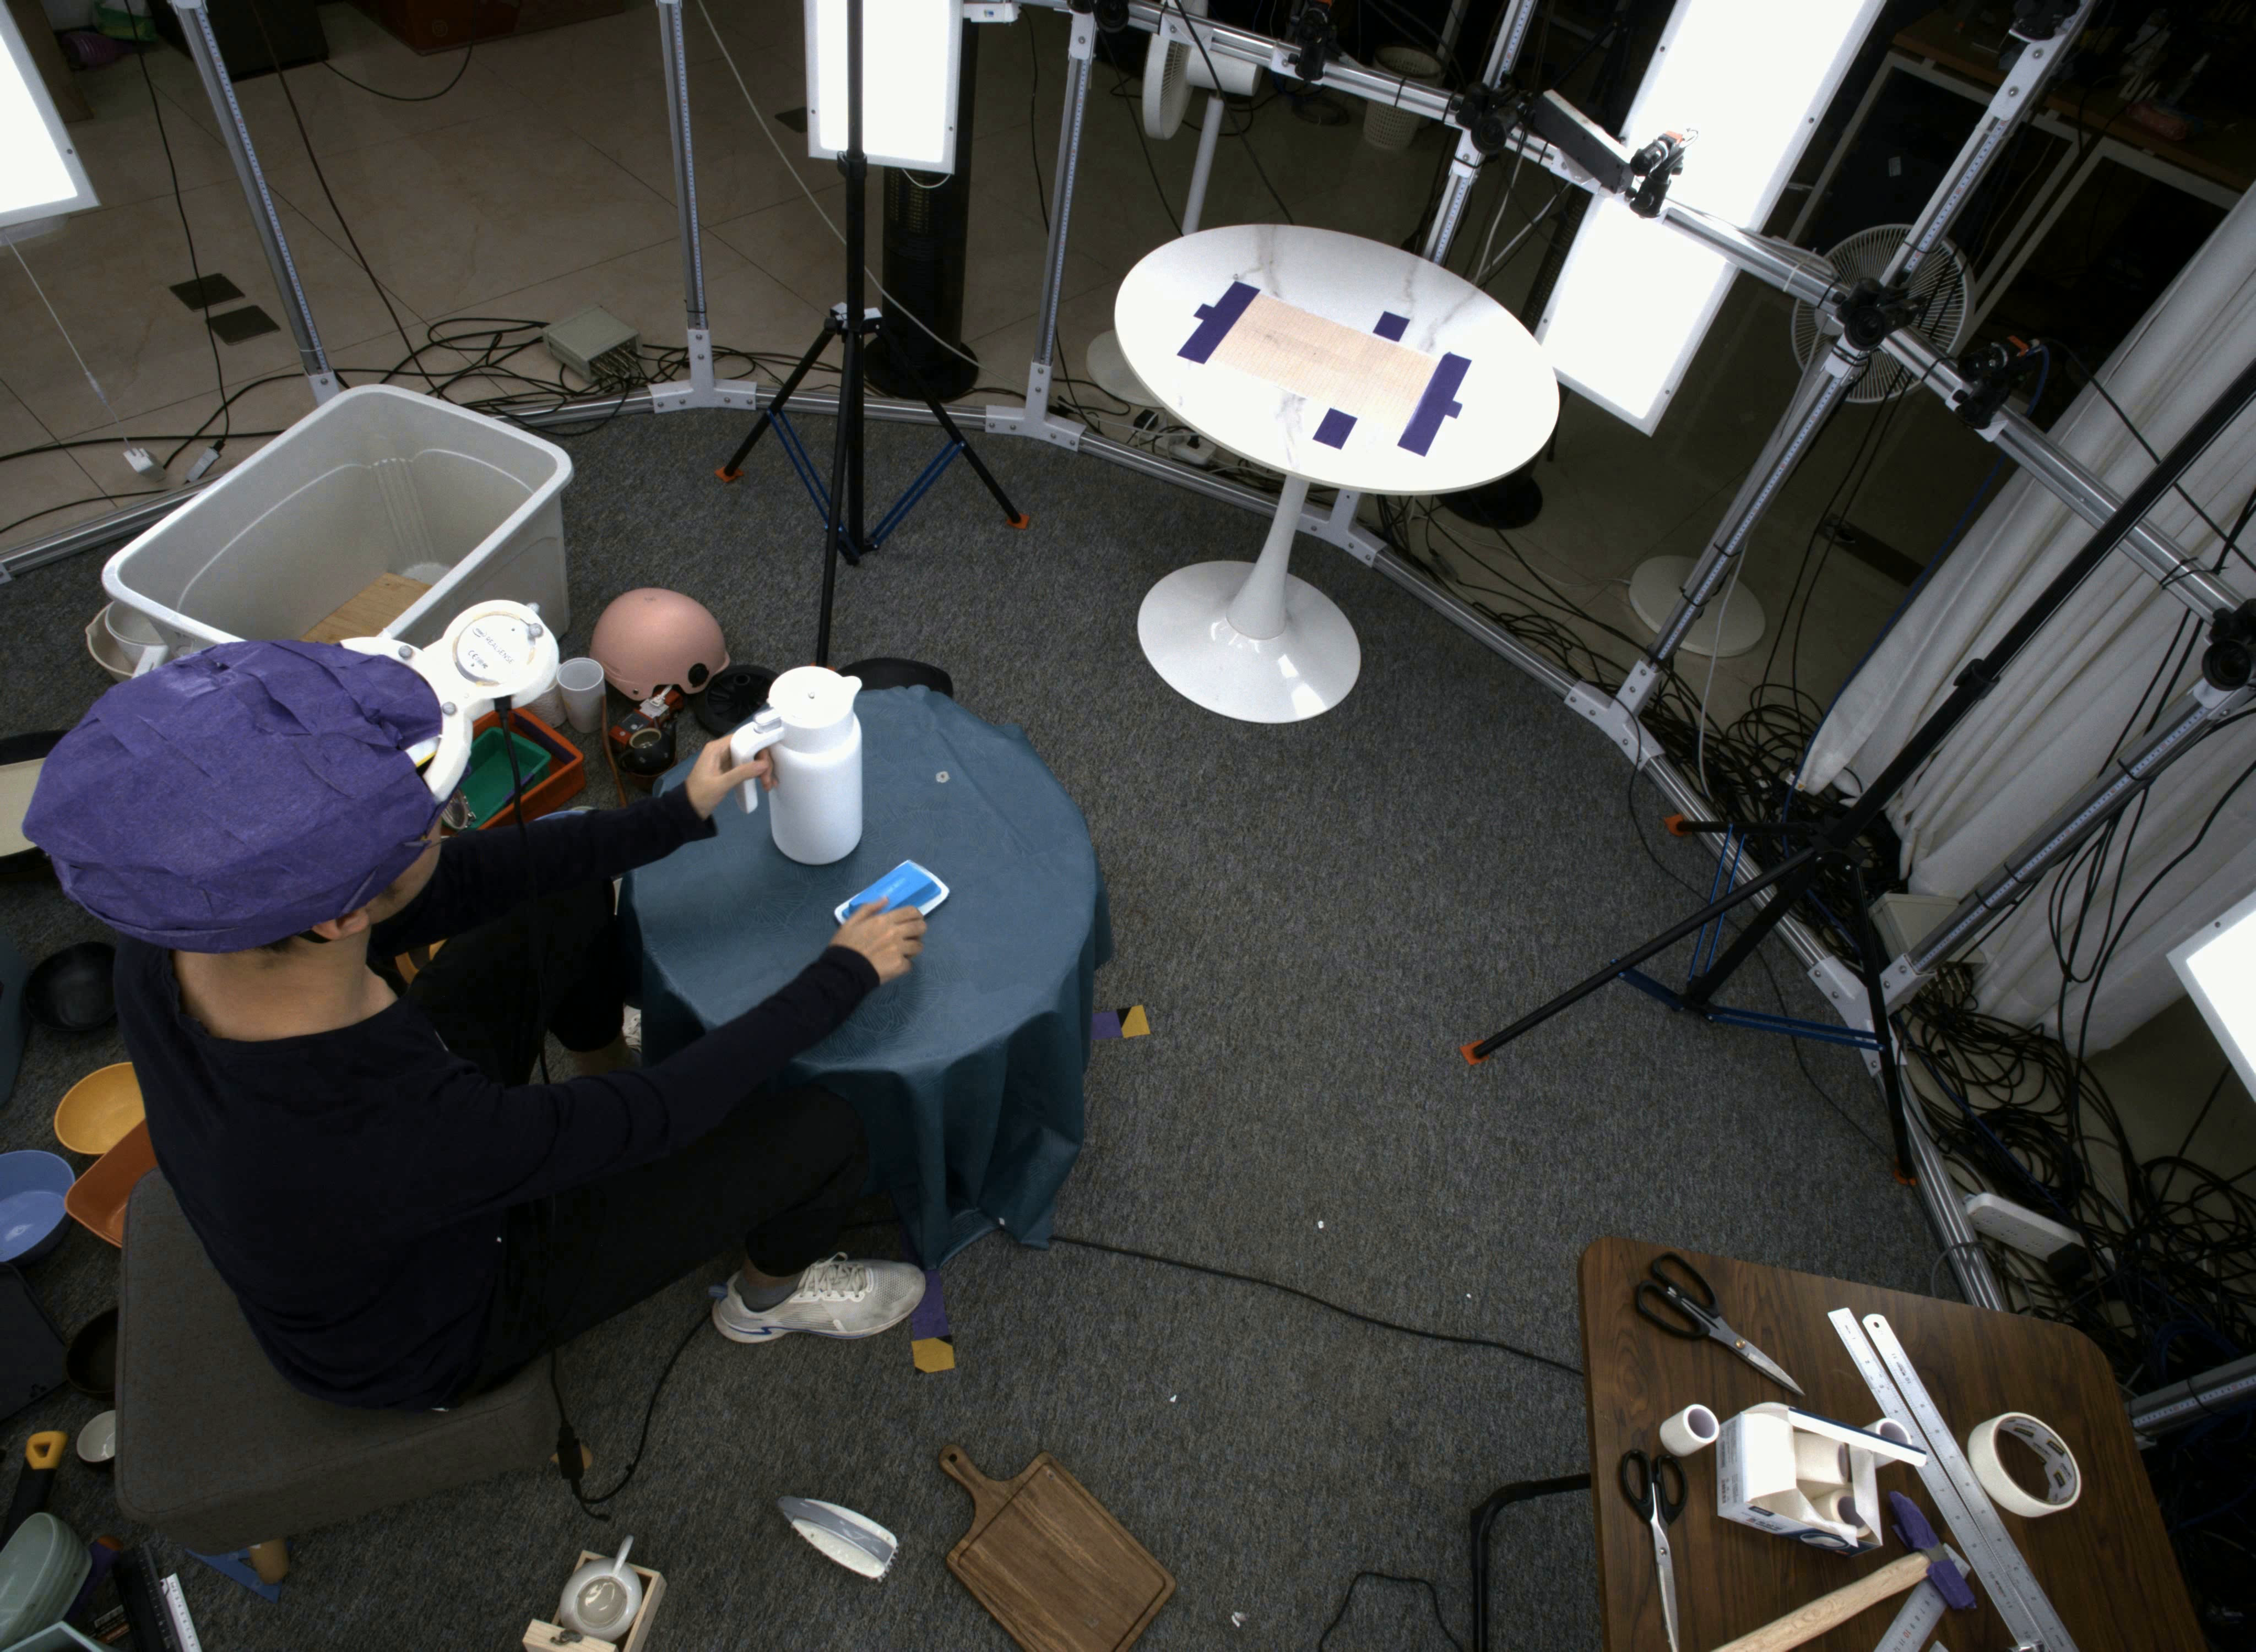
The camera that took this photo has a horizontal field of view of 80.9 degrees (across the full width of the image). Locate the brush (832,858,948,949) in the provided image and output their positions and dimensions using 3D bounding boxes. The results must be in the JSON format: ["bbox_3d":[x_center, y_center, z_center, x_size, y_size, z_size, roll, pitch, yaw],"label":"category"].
[{"bbox_3d":[-0.301,0.089,1.649,0.082,0.057,0.144,40,52,21],"label":"brush"}]

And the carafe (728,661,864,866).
[{"bbox_3d":[-0.405,-0.066,1.608,0.173,0.274,0.121,-33,66,-30],"label":"carafe"}]
